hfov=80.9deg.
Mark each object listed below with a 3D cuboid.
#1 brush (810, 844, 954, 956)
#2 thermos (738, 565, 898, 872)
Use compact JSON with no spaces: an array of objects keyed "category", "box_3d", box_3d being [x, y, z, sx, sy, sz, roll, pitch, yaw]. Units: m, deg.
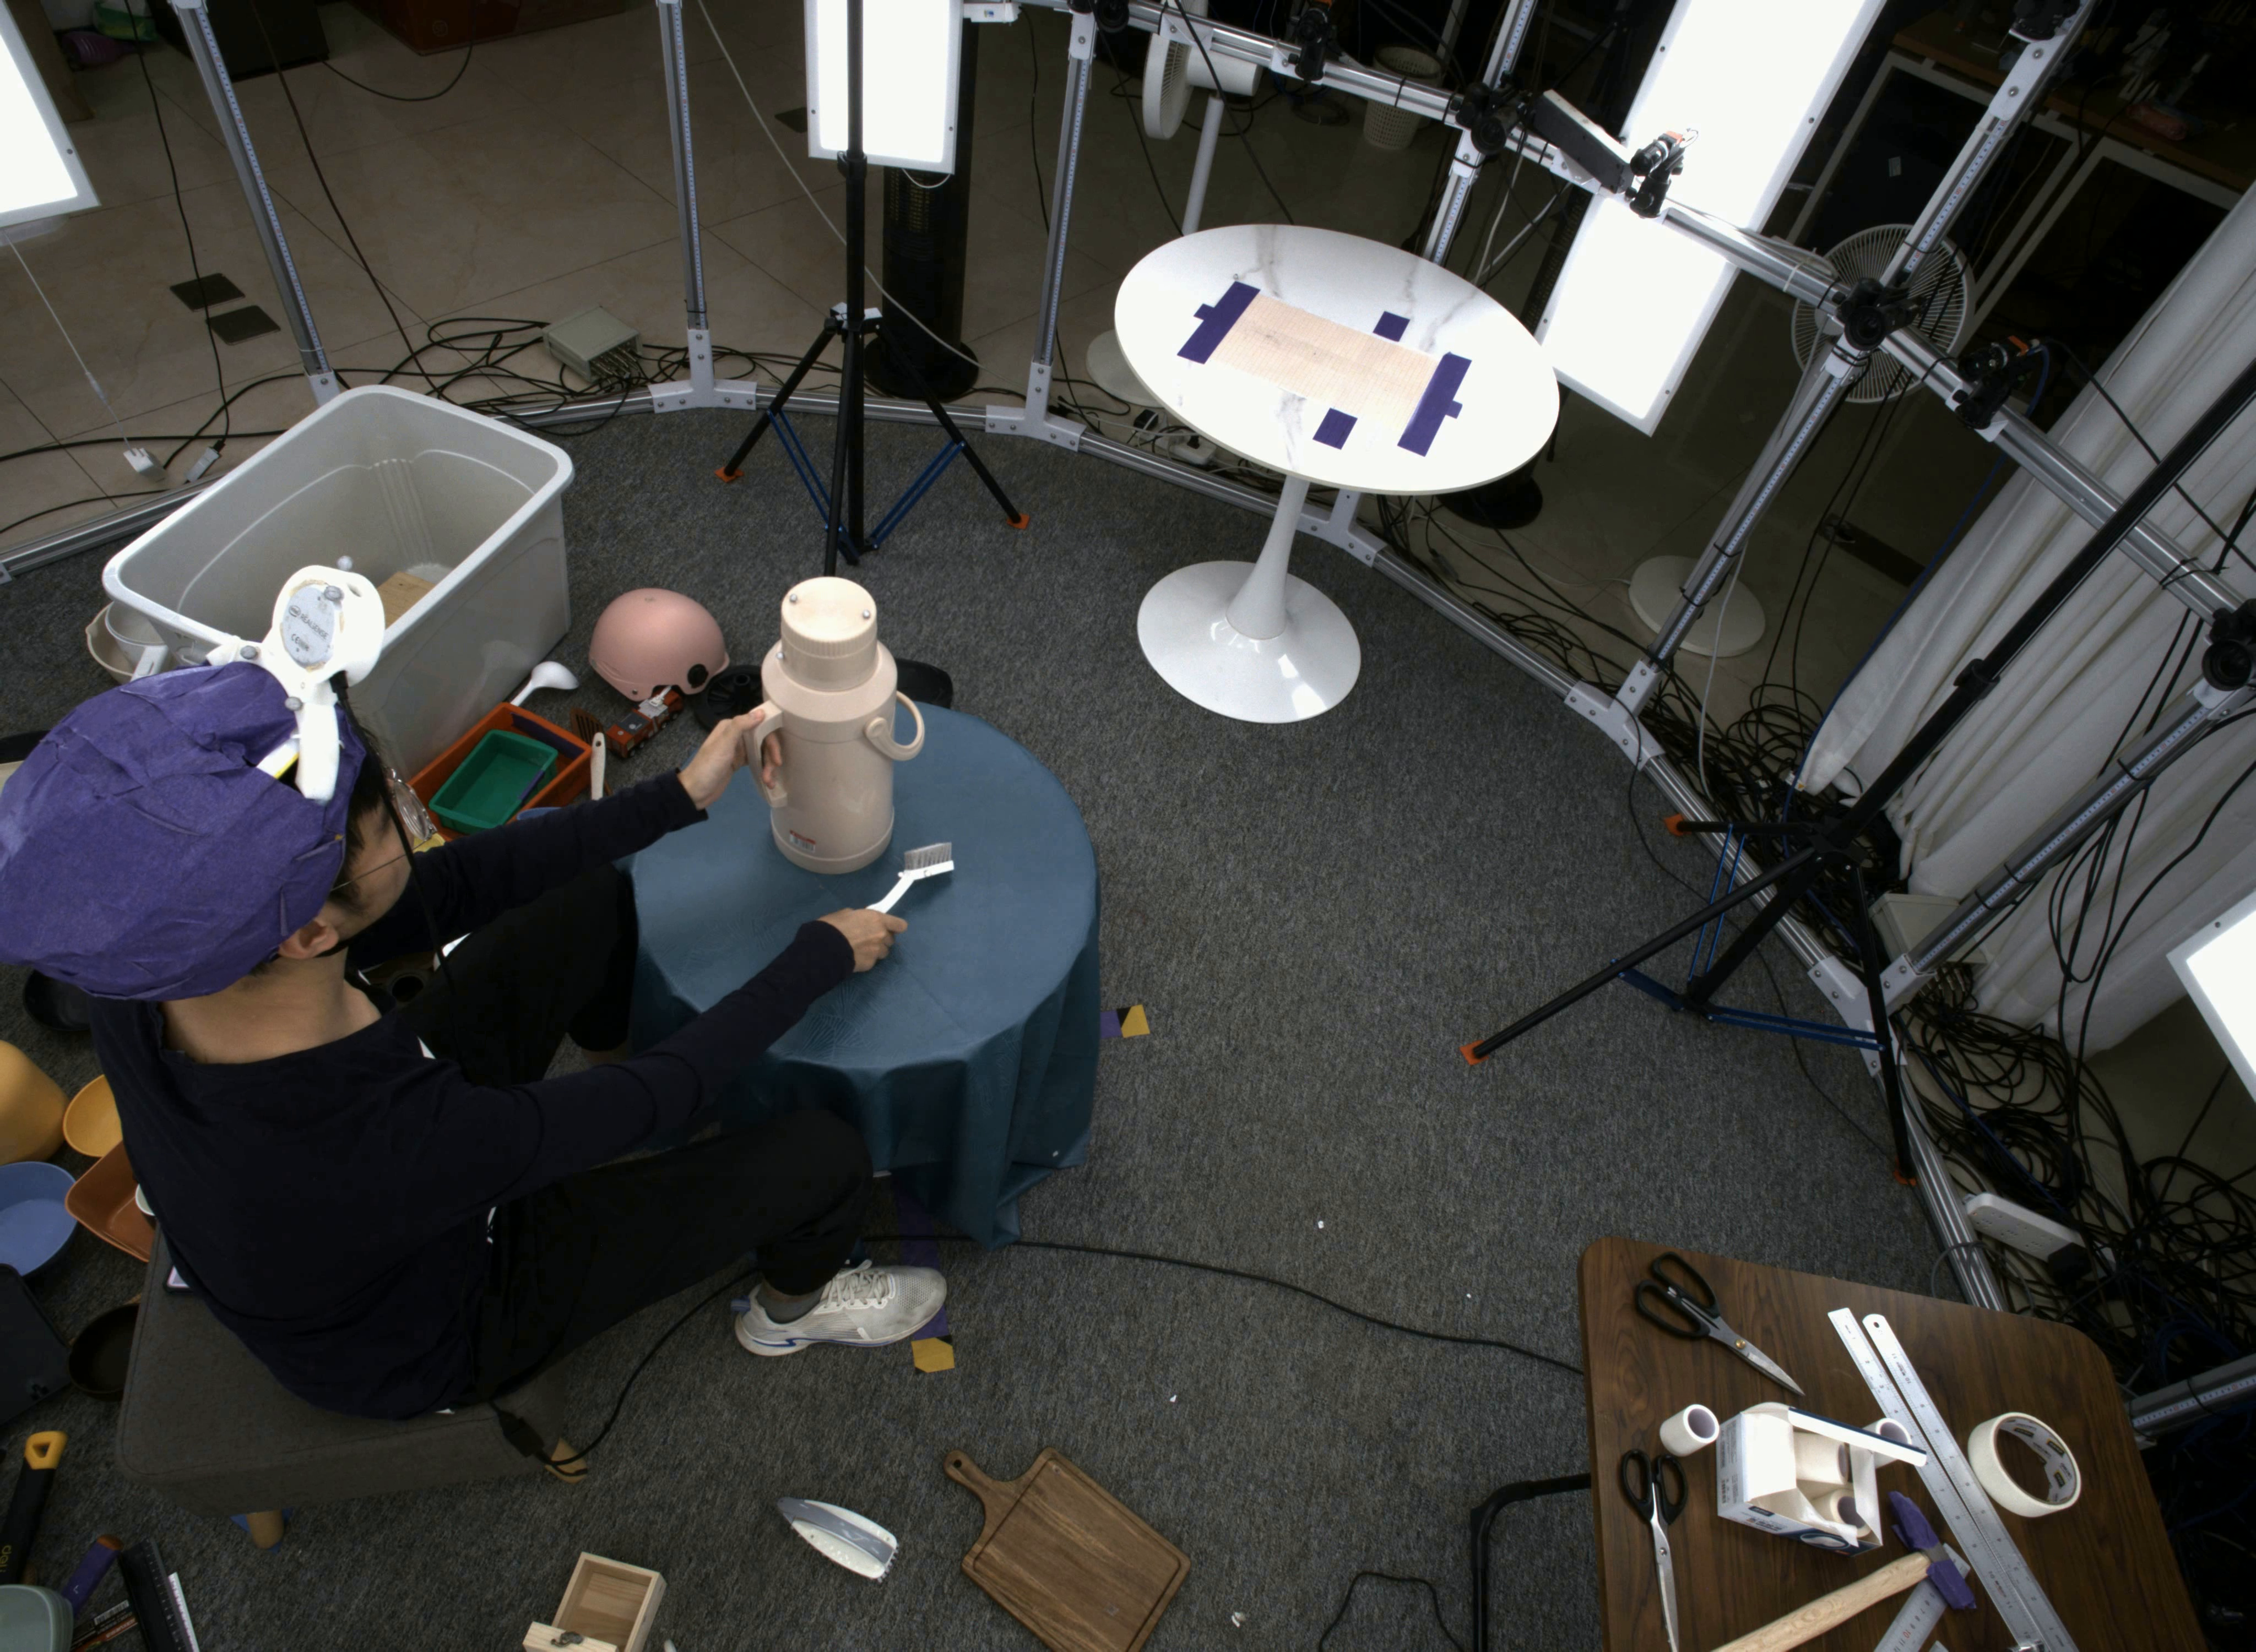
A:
[{"category":"brush","box_3d":[-0.309,0.083,1.635,0.033,0.052,0.244,13,34,37]},{"category":"thermos","box_3d":[-0.376,-0.119,1.570,0.171,0.414,0.207,40,56,17]}]
